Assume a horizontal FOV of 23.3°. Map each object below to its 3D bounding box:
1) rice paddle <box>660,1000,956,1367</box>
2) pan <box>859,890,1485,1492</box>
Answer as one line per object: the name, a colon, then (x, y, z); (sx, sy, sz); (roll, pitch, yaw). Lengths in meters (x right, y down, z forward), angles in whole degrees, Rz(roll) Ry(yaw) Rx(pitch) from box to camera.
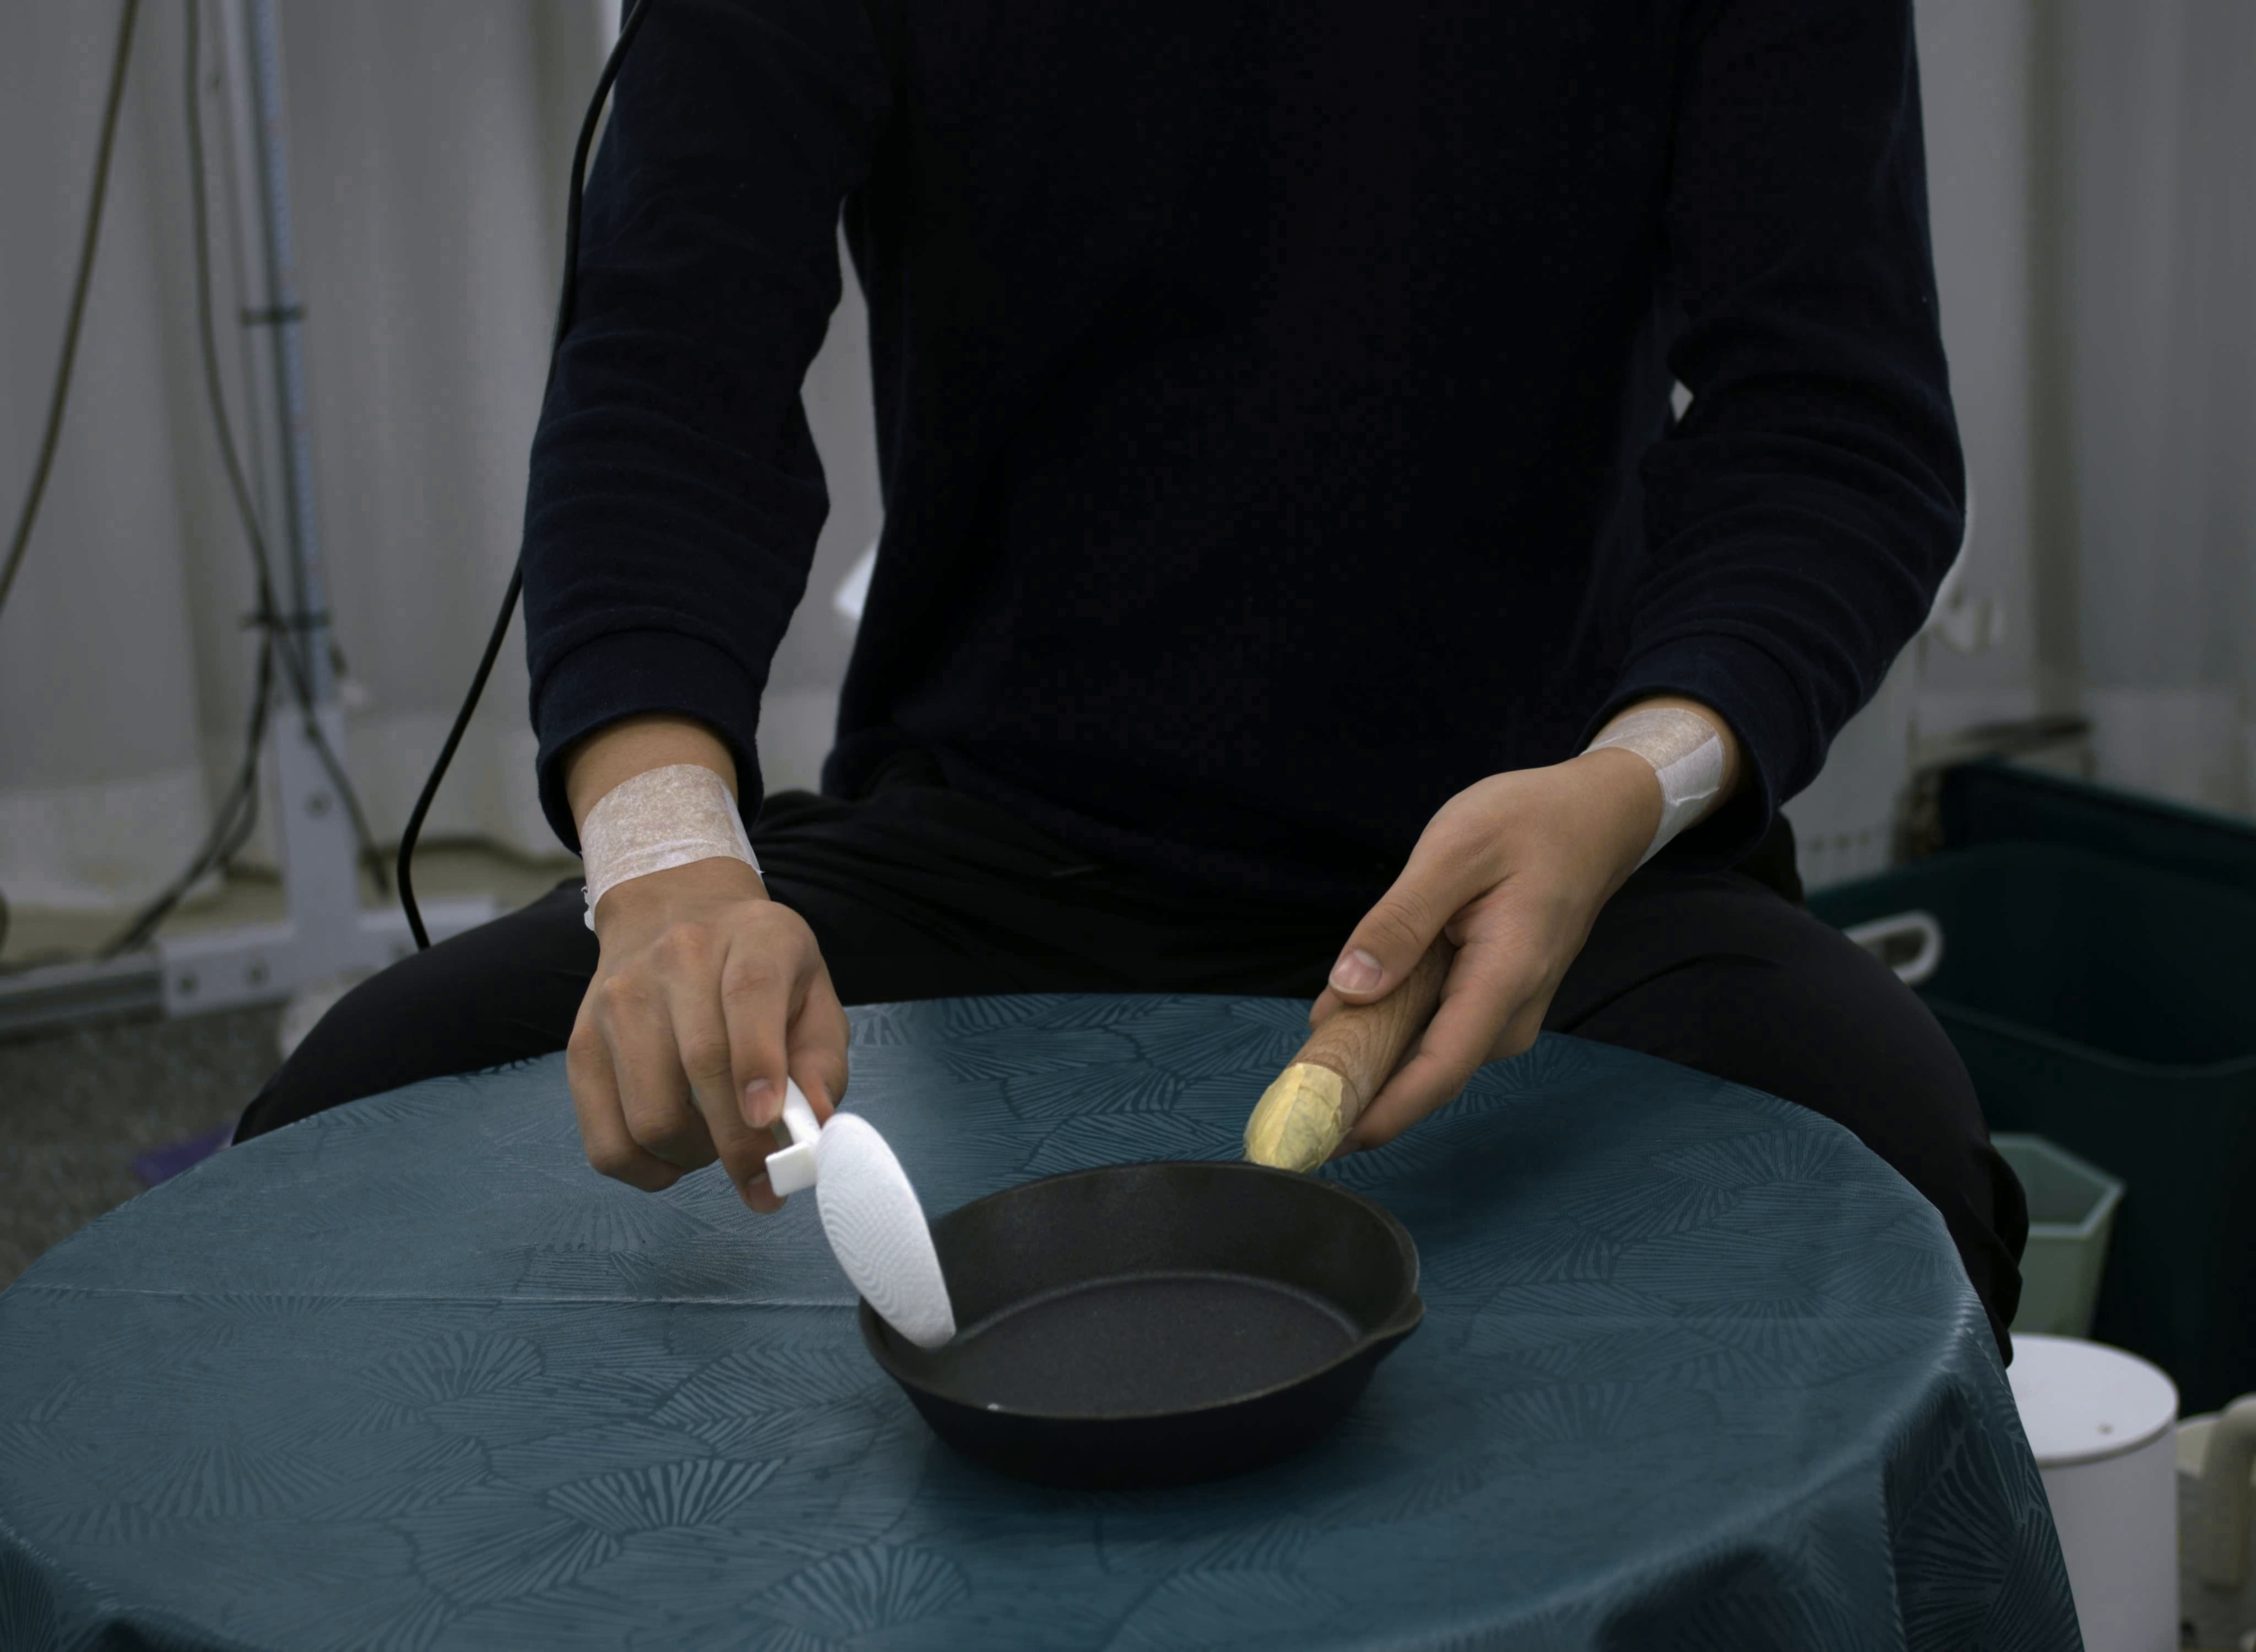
rice paddle: (-0.086, 0.097, 1.551); (0.029, 0.068, 0.207); (-18, 23, -18)
pan: (0.040, 0.102, 1.593); (0.169, 0.049, 0.326); (6, 26, 26)
